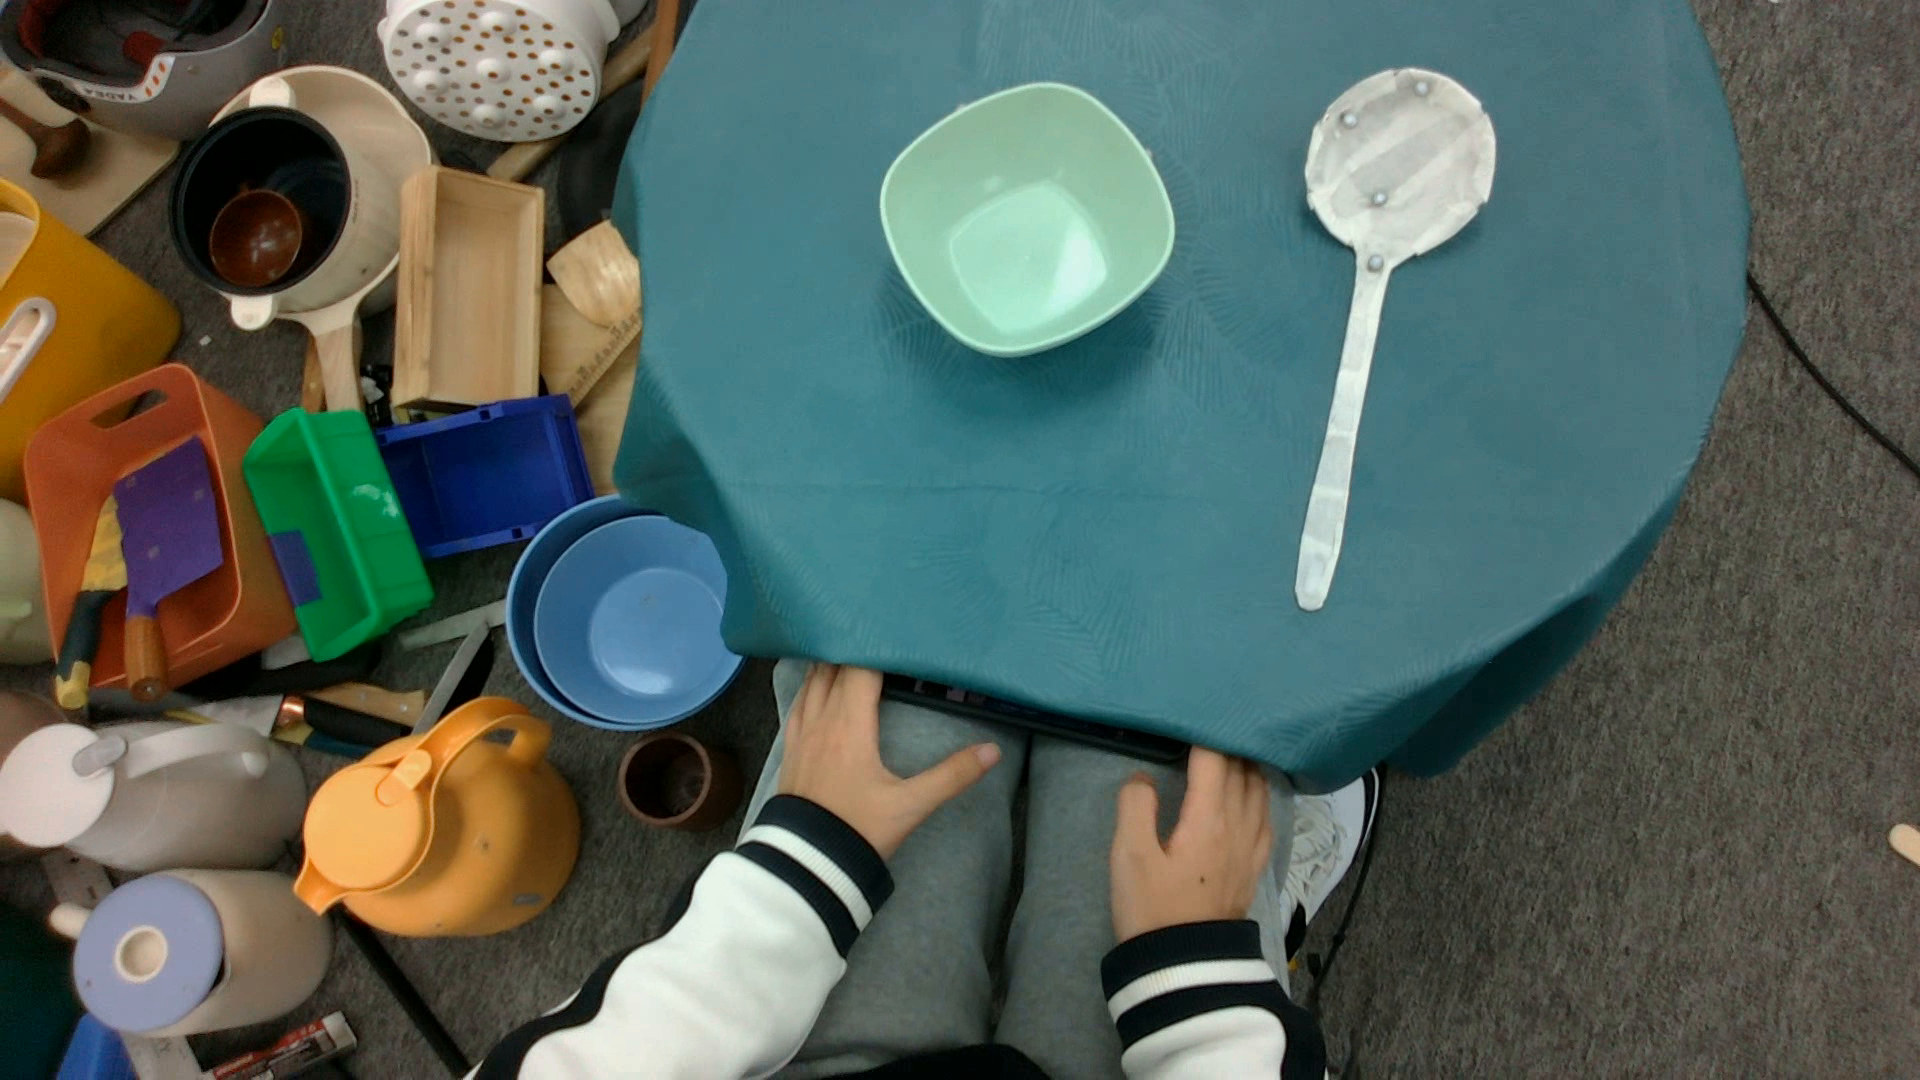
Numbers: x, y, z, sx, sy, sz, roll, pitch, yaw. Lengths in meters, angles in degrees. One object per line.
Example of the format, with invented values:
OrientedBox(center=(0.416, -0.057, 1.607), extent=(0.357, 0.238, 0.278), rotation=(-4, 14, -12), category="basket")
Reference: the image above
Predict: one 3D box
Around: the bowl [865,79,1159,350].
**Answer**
OrientedBox(center=(0.027, -0.161, 0.722), extent=(0.151, 0.058, 0.152), rotation=(-1, 75, 3), category="bowl")

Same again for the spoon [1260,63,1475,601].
OrientedBox(center=(0.188, -0.107, 0.696), extent=(0.100, 0.059, 0.278), rotation=(14, 76, 11), category="spoon")
